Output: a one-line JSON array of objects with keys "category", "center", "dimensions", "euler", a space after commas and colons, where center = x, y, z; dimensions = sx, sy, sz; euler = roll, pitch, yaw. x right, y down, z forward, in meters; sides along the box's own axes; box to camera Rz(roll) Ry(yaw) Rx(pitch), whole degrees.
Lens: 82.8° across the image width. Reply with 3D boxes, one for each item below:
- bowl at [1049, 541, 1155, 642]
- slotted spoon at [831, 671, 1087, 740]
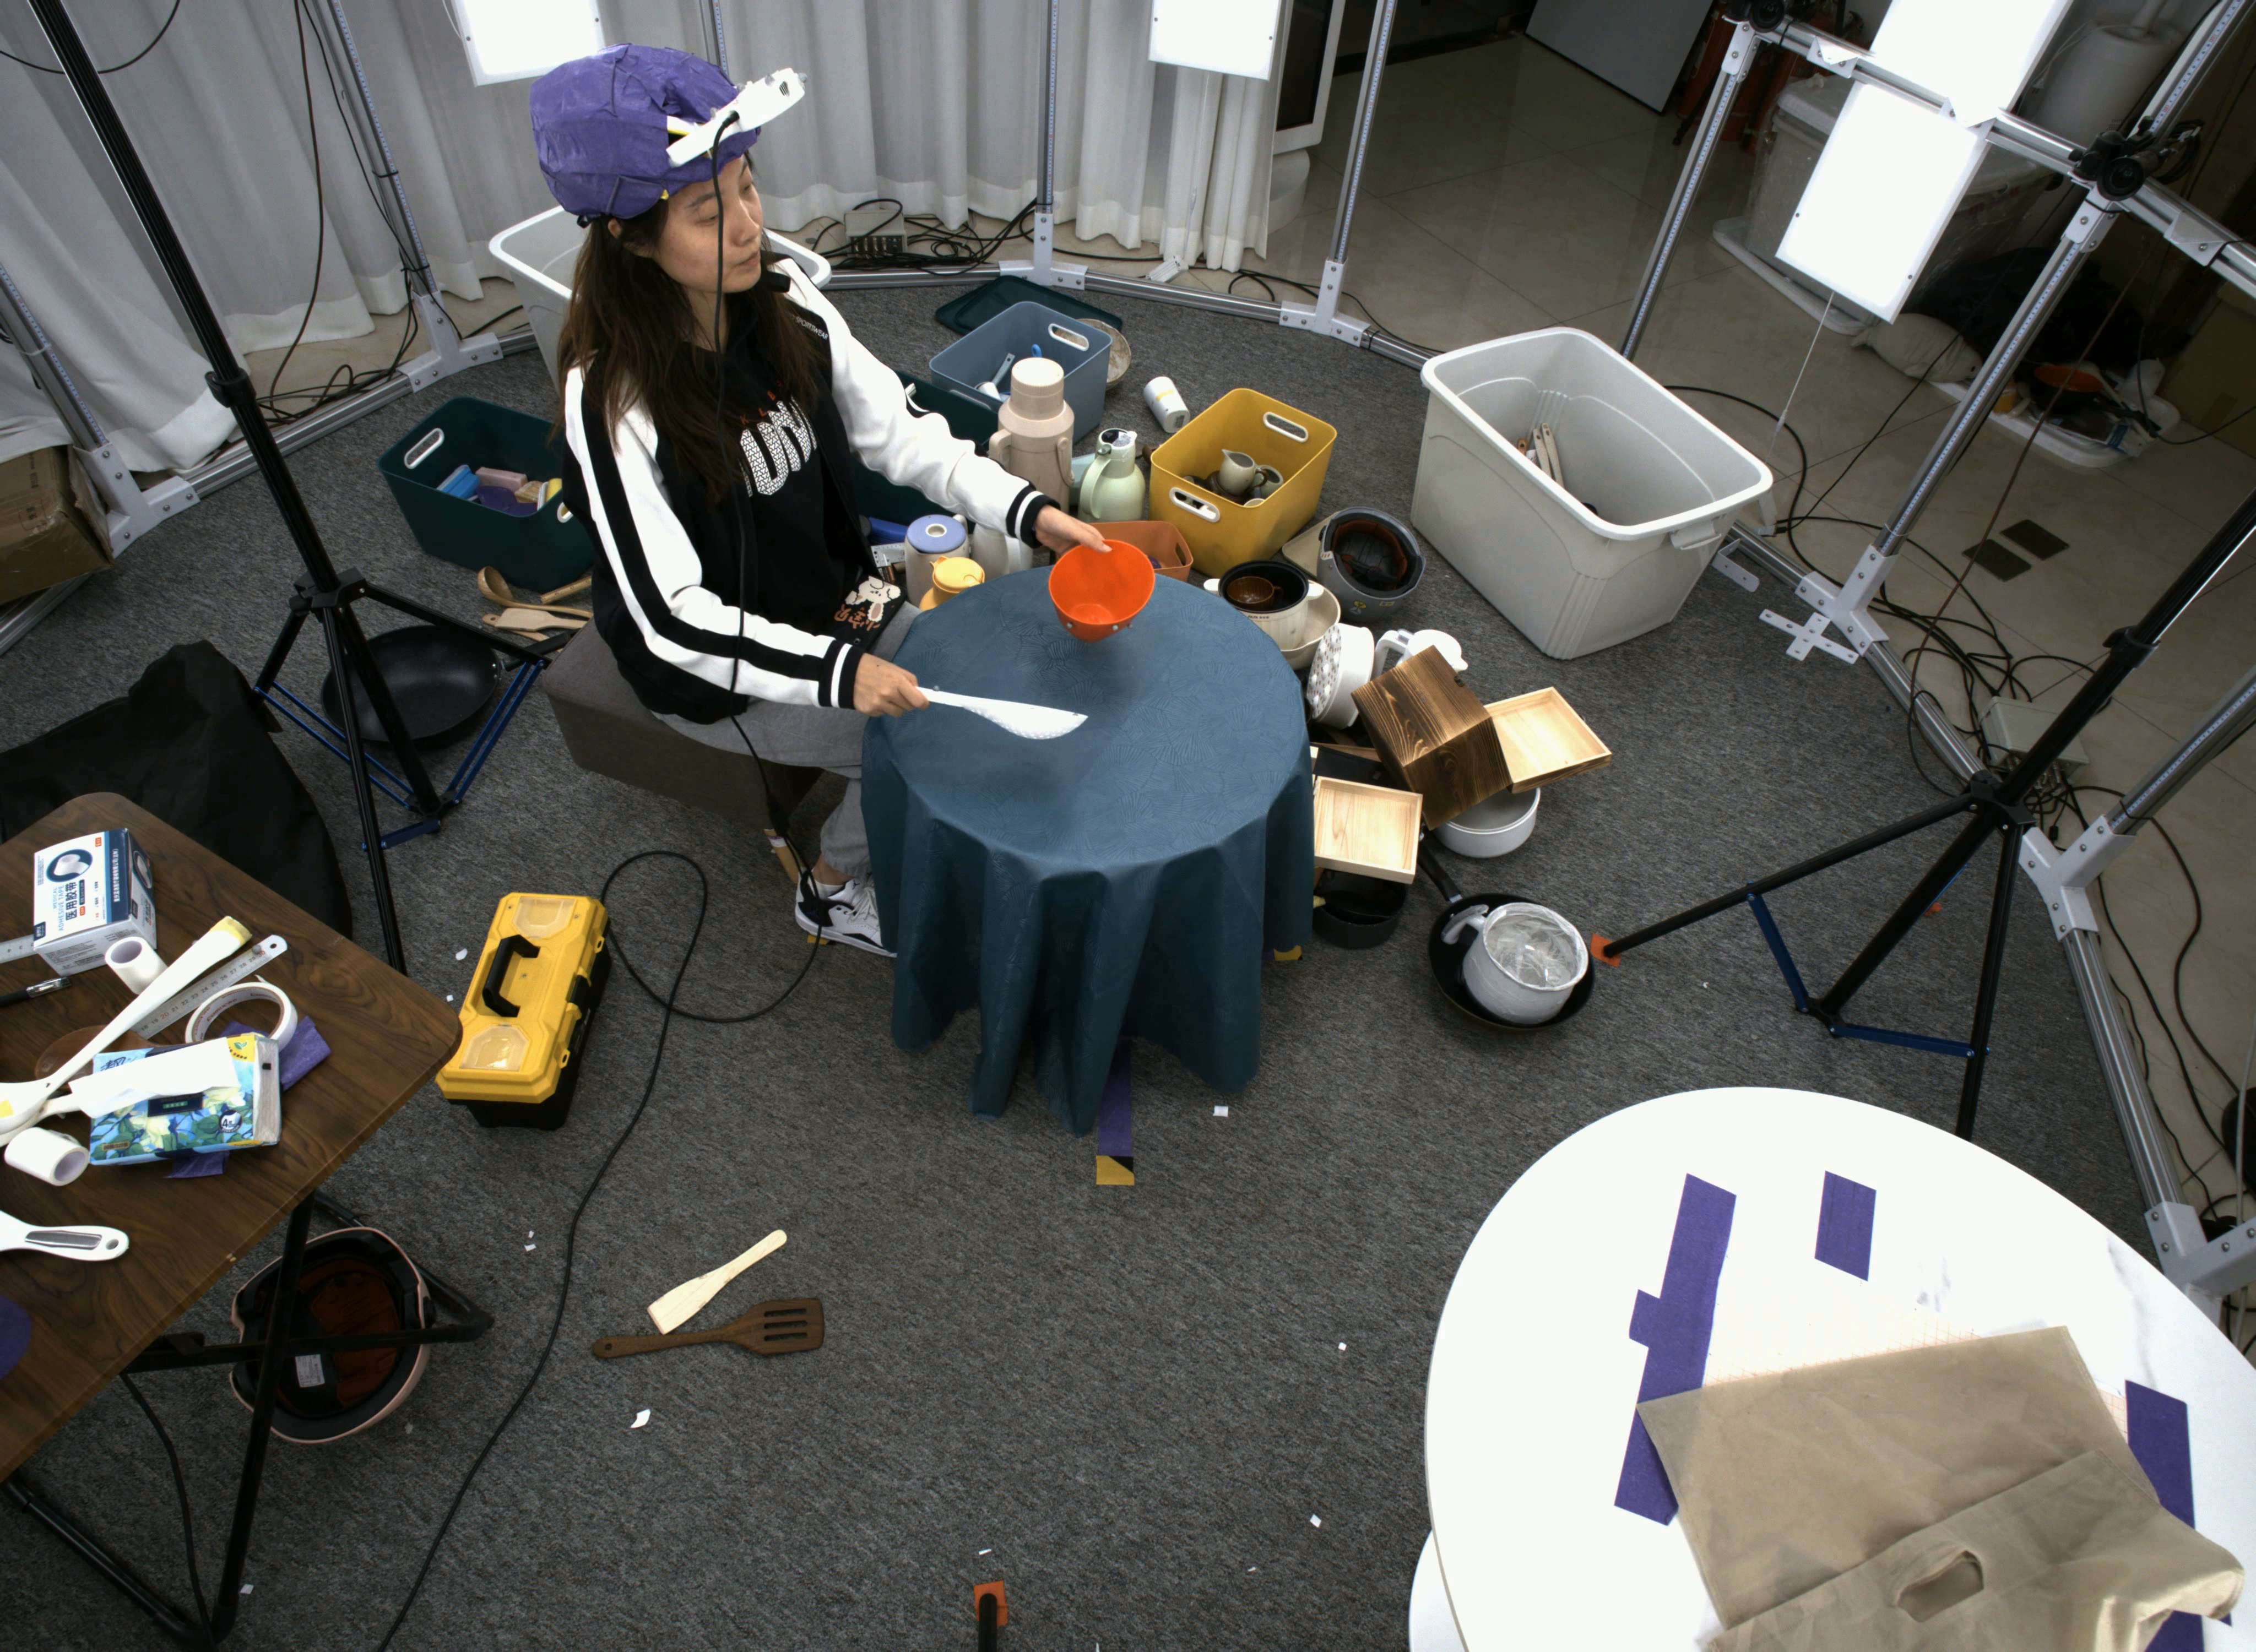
[{"category": "bowl", "center": [-0.039, -0.321, 1.834], "dimensions": [0.148, 0.102, 0.151], "euler": [2, 61, -4]}, {"category": "slotted spoon", "center": [-0.223, -0.164, 1.664], "dimensions": [0.351, 0.045, 0.136], "euler": [16, 7, 15]}]
